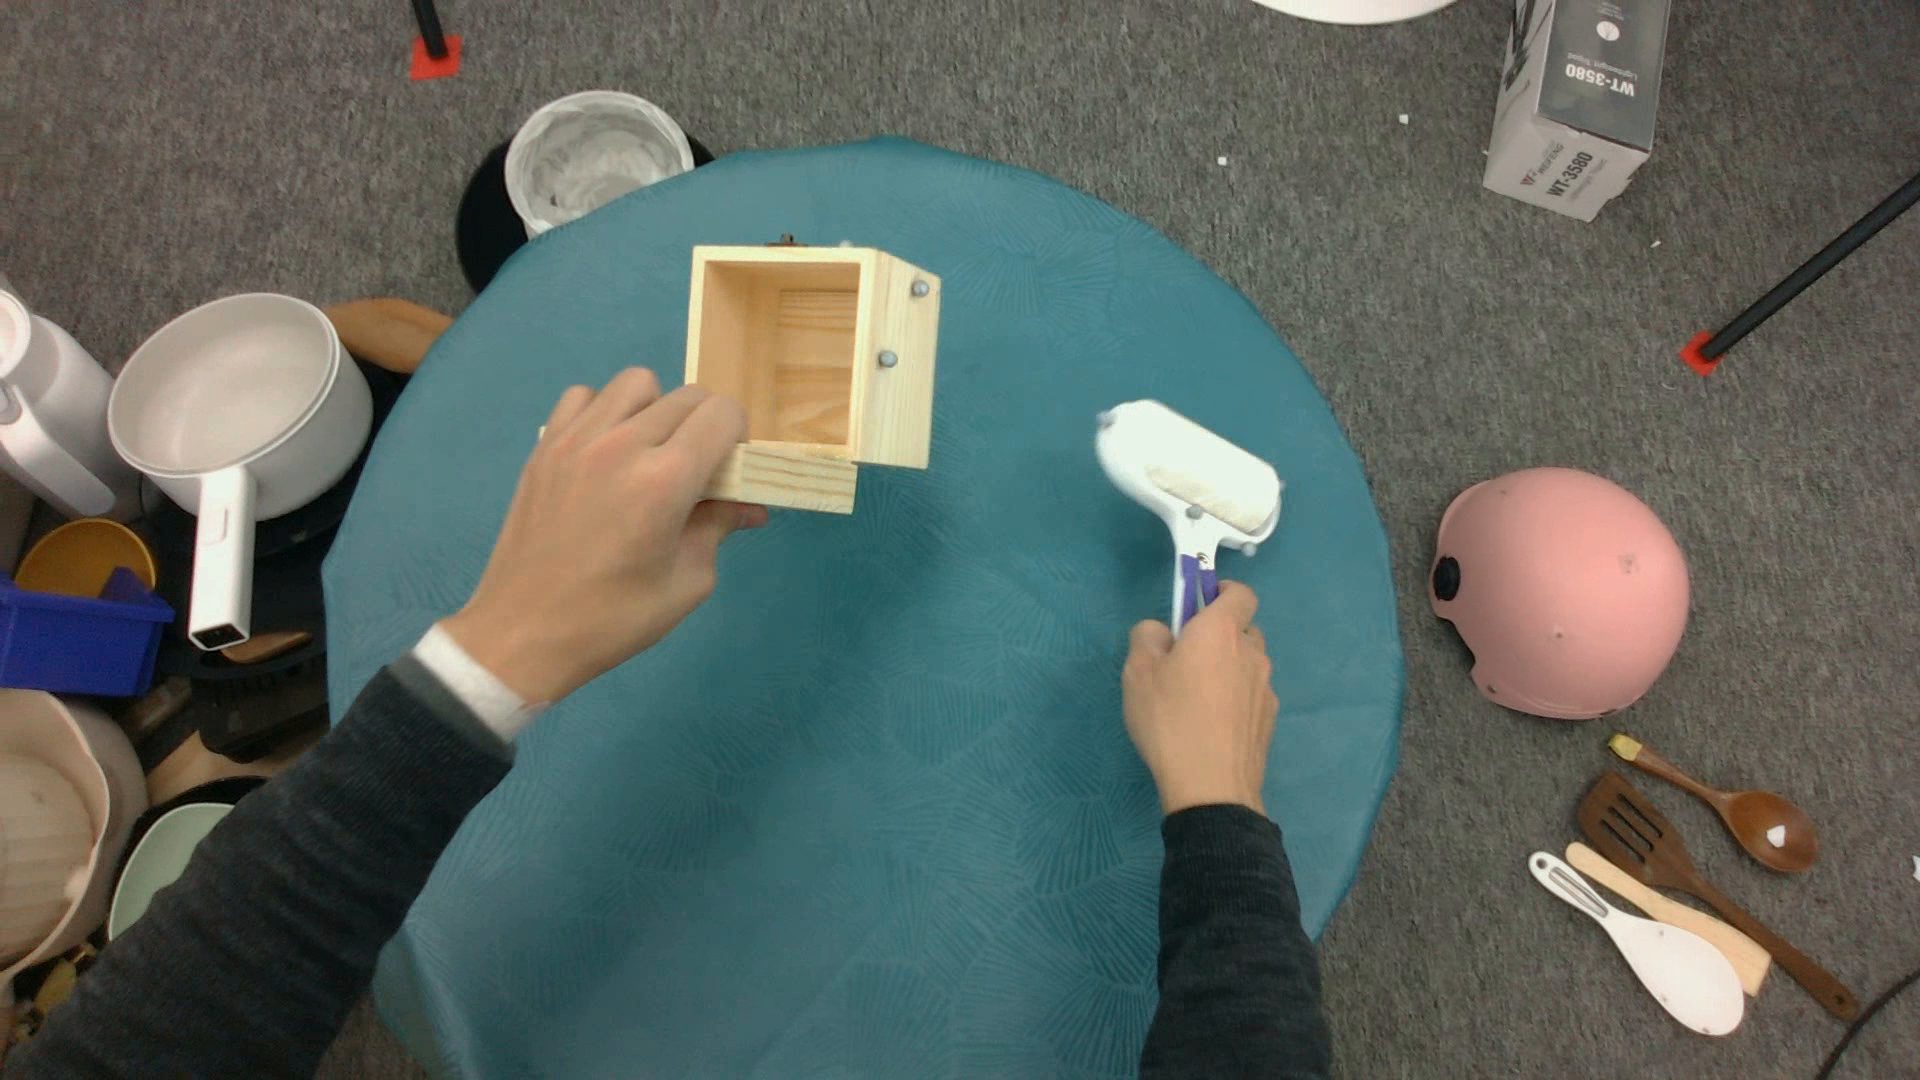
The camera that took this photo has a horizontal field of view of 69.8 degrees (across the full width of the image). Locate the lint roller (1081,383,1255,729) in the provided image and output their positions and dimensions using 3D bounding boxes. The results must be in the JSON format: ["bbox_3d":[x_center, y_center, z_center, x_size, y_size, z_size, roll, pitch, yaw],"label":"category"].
[{"bbox_3d":[0.121,0.009,0.734,0.133,0.050,0.181,26,48,-41],"label":"lint roller"}]

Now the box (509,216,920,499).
[{"bbox_3d":[-0.106,-0.089,0.646,0.102,0.185,0.134,5,92,23],"label":"box"}]
